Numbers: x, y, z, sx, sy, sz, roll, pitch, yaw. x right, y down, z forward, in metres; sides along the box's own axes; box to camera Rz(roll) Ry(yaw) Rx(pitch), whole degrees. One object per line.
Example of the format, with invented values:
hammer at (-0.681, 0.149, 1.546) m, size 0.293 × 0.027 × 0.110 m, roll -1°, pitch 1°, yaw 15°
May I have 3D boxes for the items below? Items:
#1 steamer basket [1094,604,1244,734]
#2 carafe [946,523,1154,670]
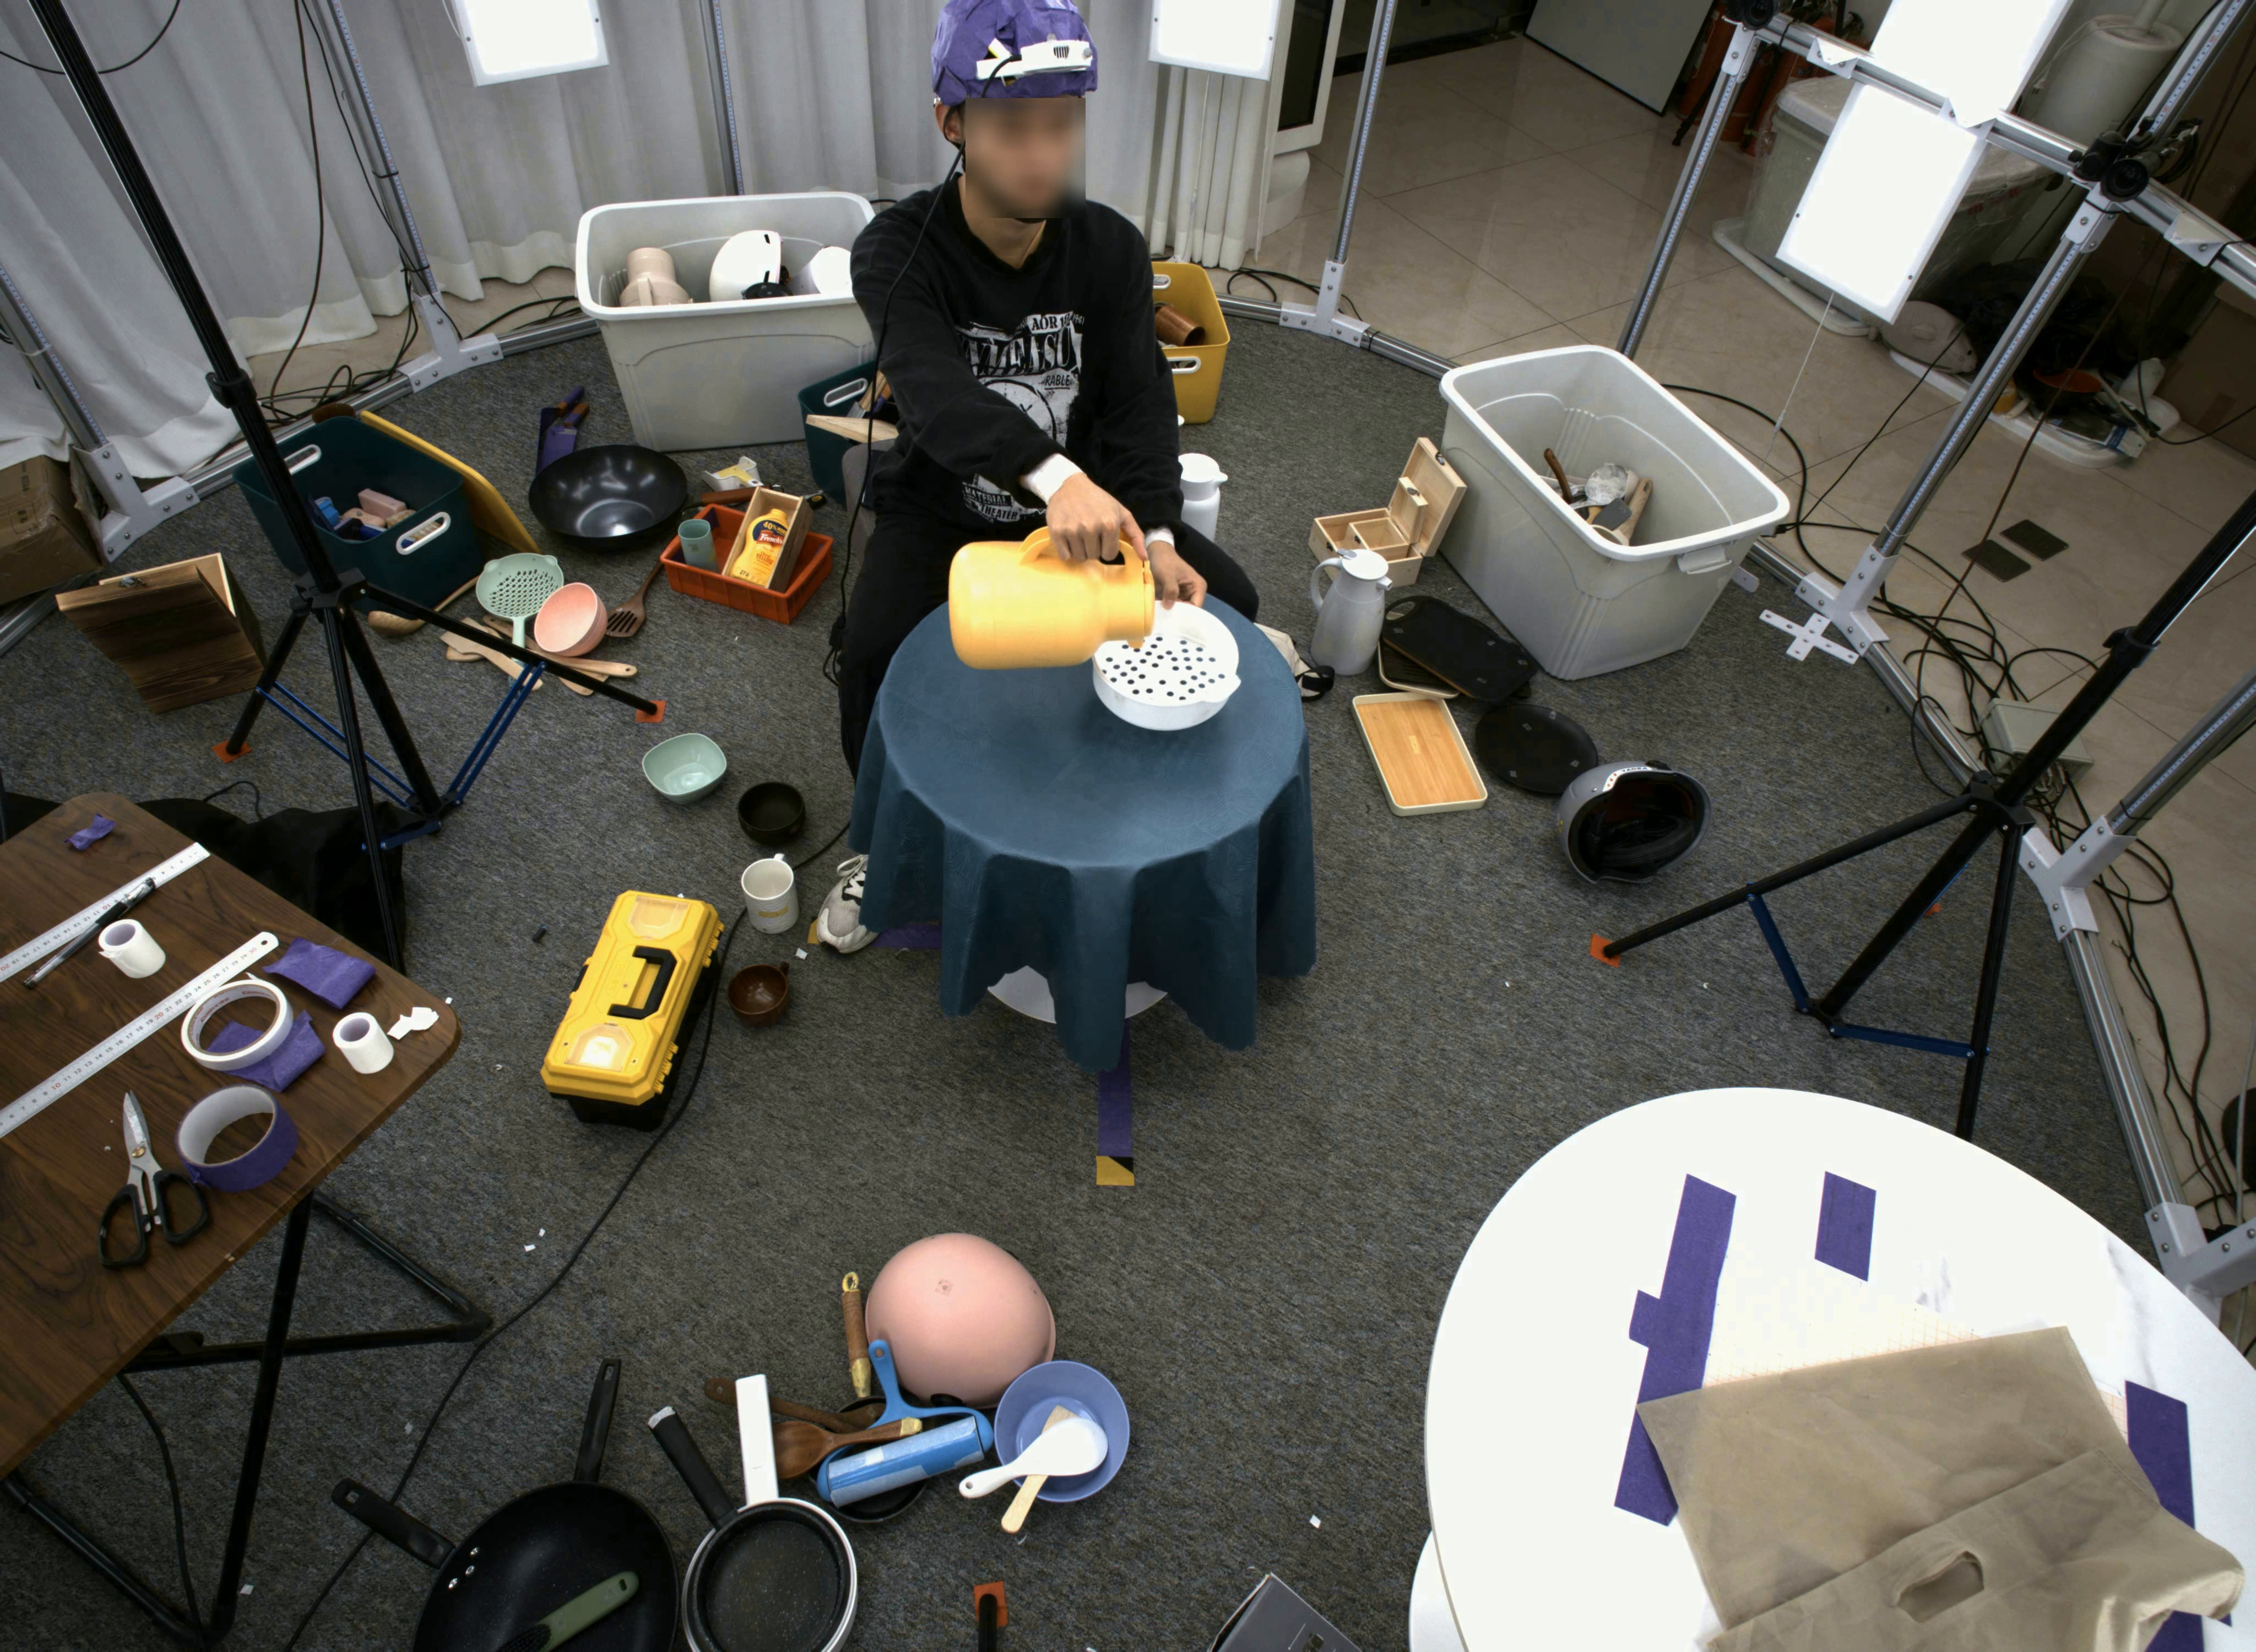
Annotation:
steamer basket at (0.053, -0.215, 1.765) m, size 0.233 × 0.067 × 0.204 m, roll 34°, pitch 58°, yaw 24°
carafe at (-0.097, -0.297, 1.632) m, size 0.260 × 0.197 × 0.167 m, roll -2°, pitch 48°, yaw -2°
